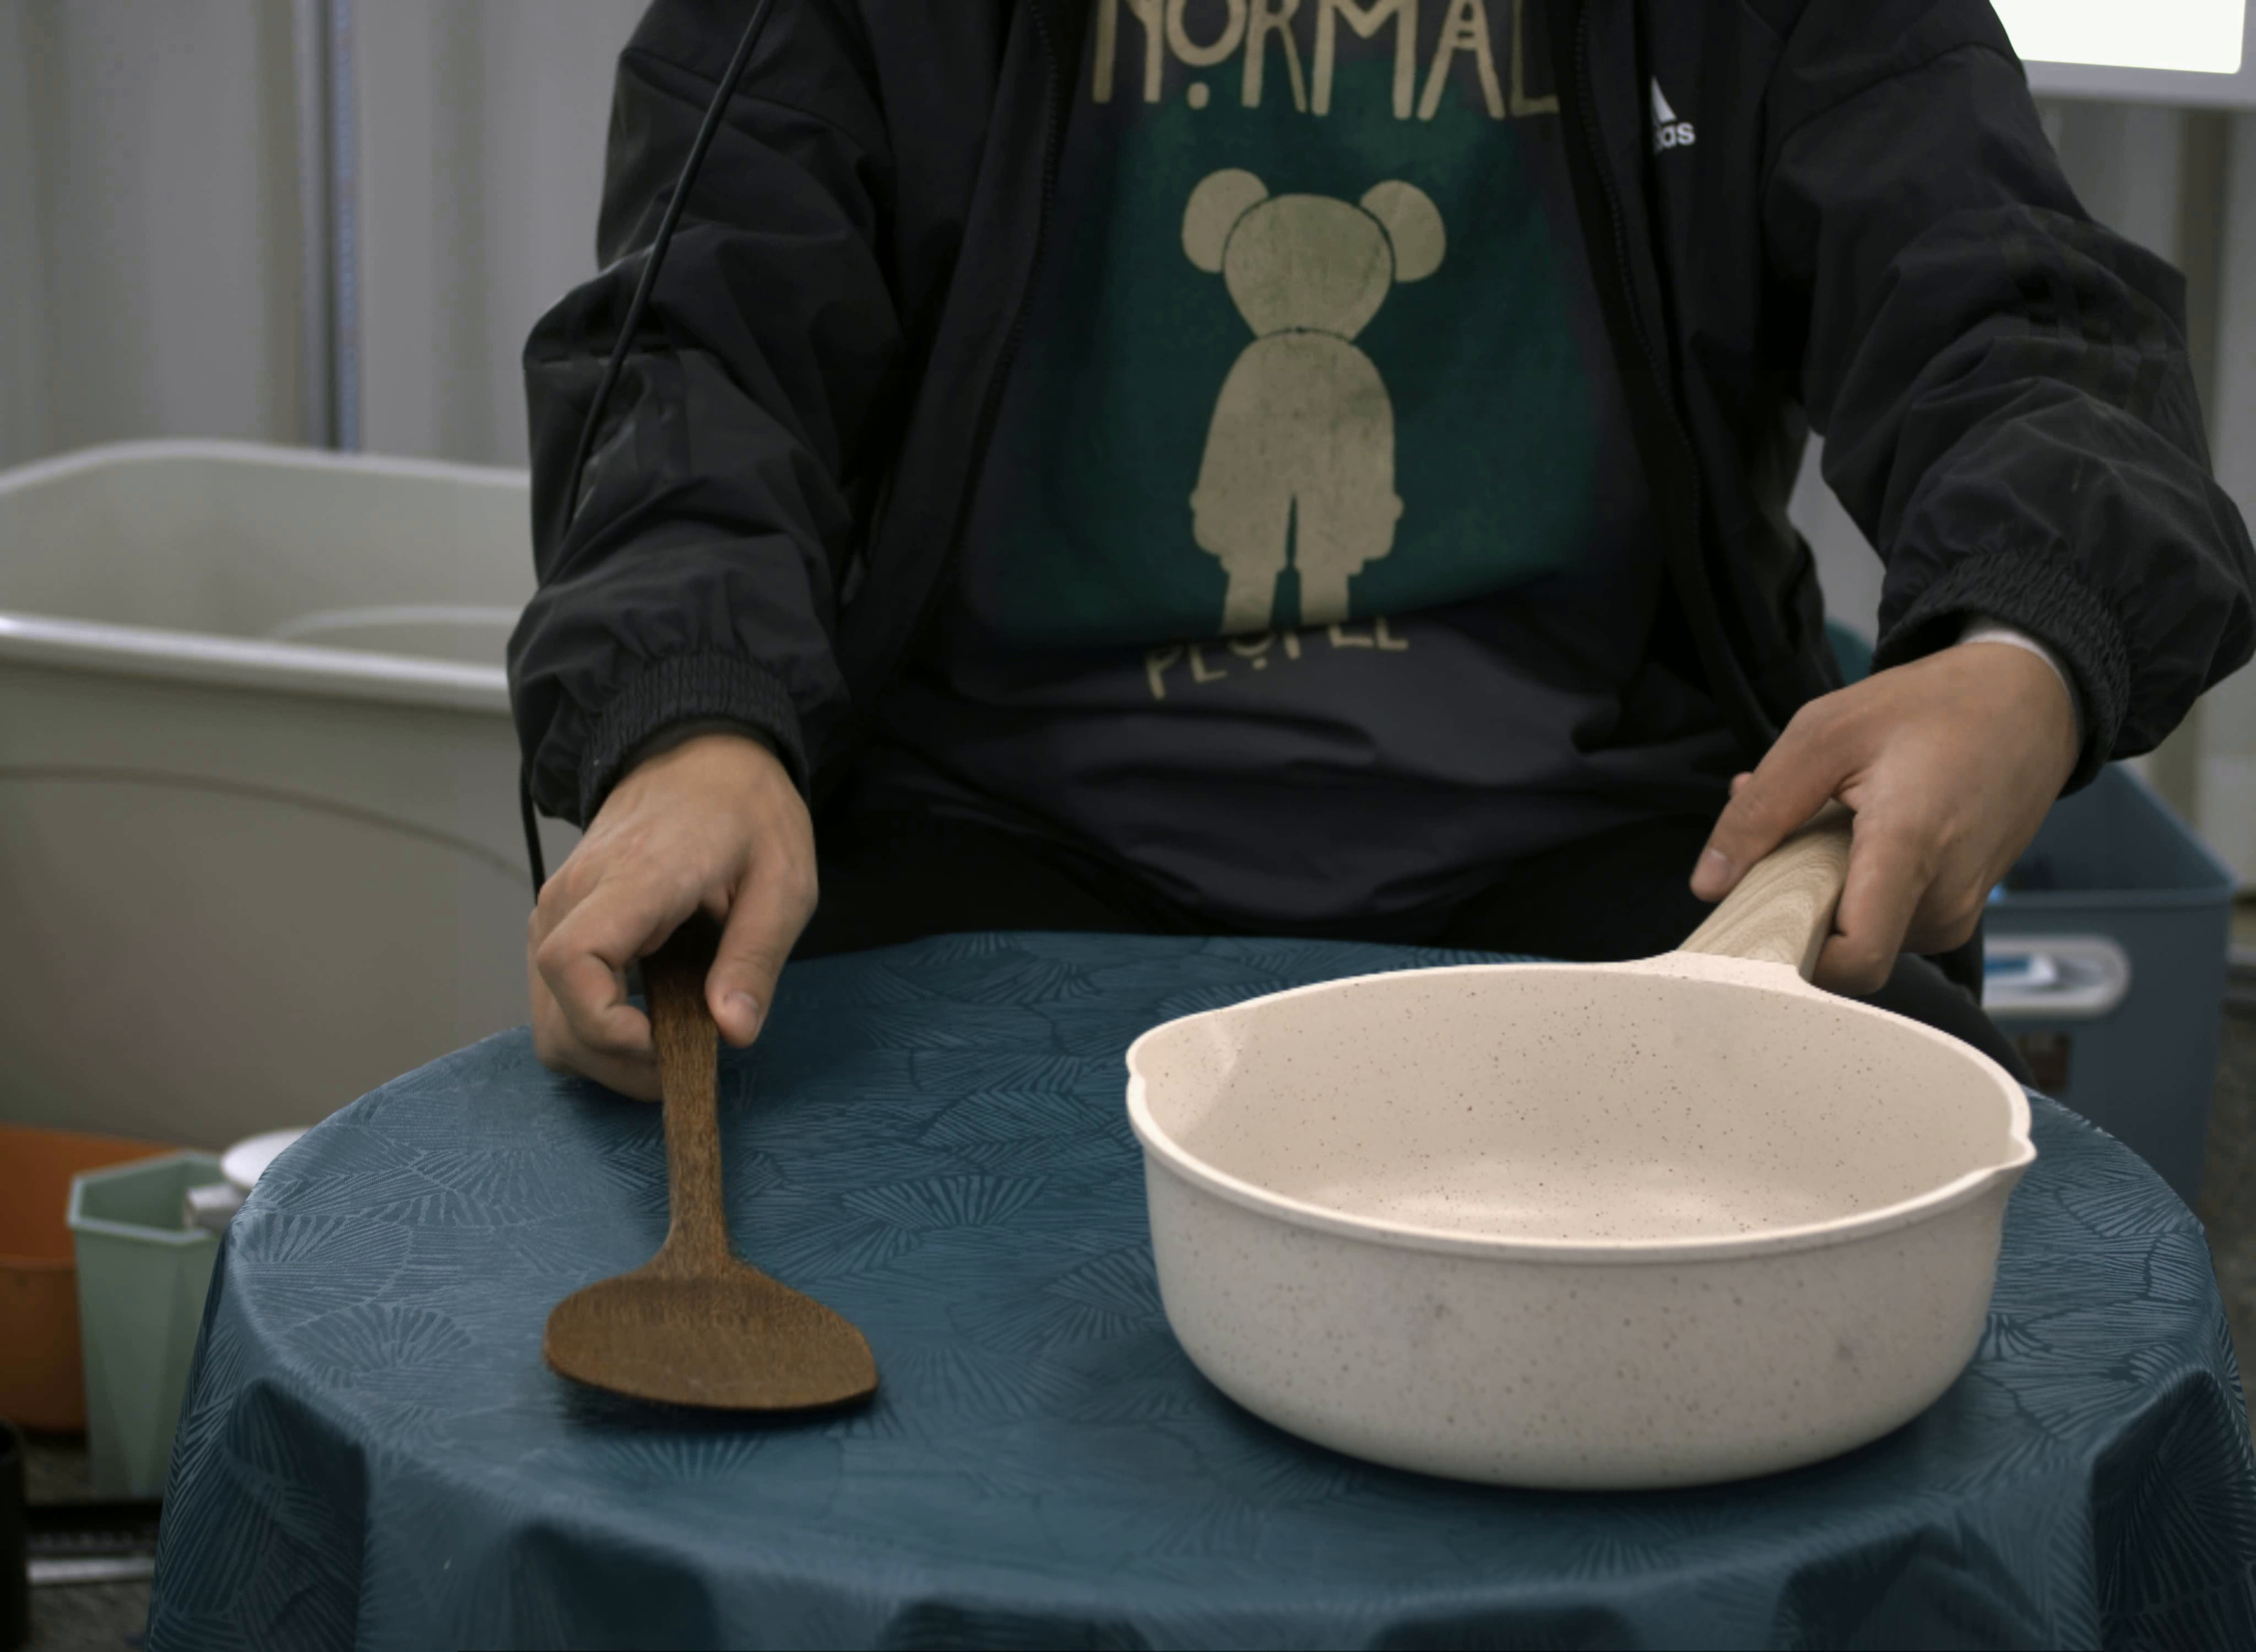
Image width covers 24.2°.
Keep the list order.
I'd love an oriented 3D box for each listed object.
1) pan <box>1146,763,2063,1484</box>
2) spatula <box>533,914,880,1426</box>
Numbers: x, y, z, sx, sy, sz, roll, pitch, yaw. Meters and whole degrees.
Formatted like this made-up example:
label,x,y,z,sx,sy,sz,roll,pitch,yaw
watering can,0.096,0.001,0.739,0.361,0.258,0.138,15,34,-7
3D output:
label,x,y,z,sx,sy,sz,roll,pitch,yaw
pan,0.168,0.081,1.550,0.260,0.103,0.435,5,16,23
spatula,-0.133,0.096,1.603,0.096,0.016,0.382,3,20,-8
